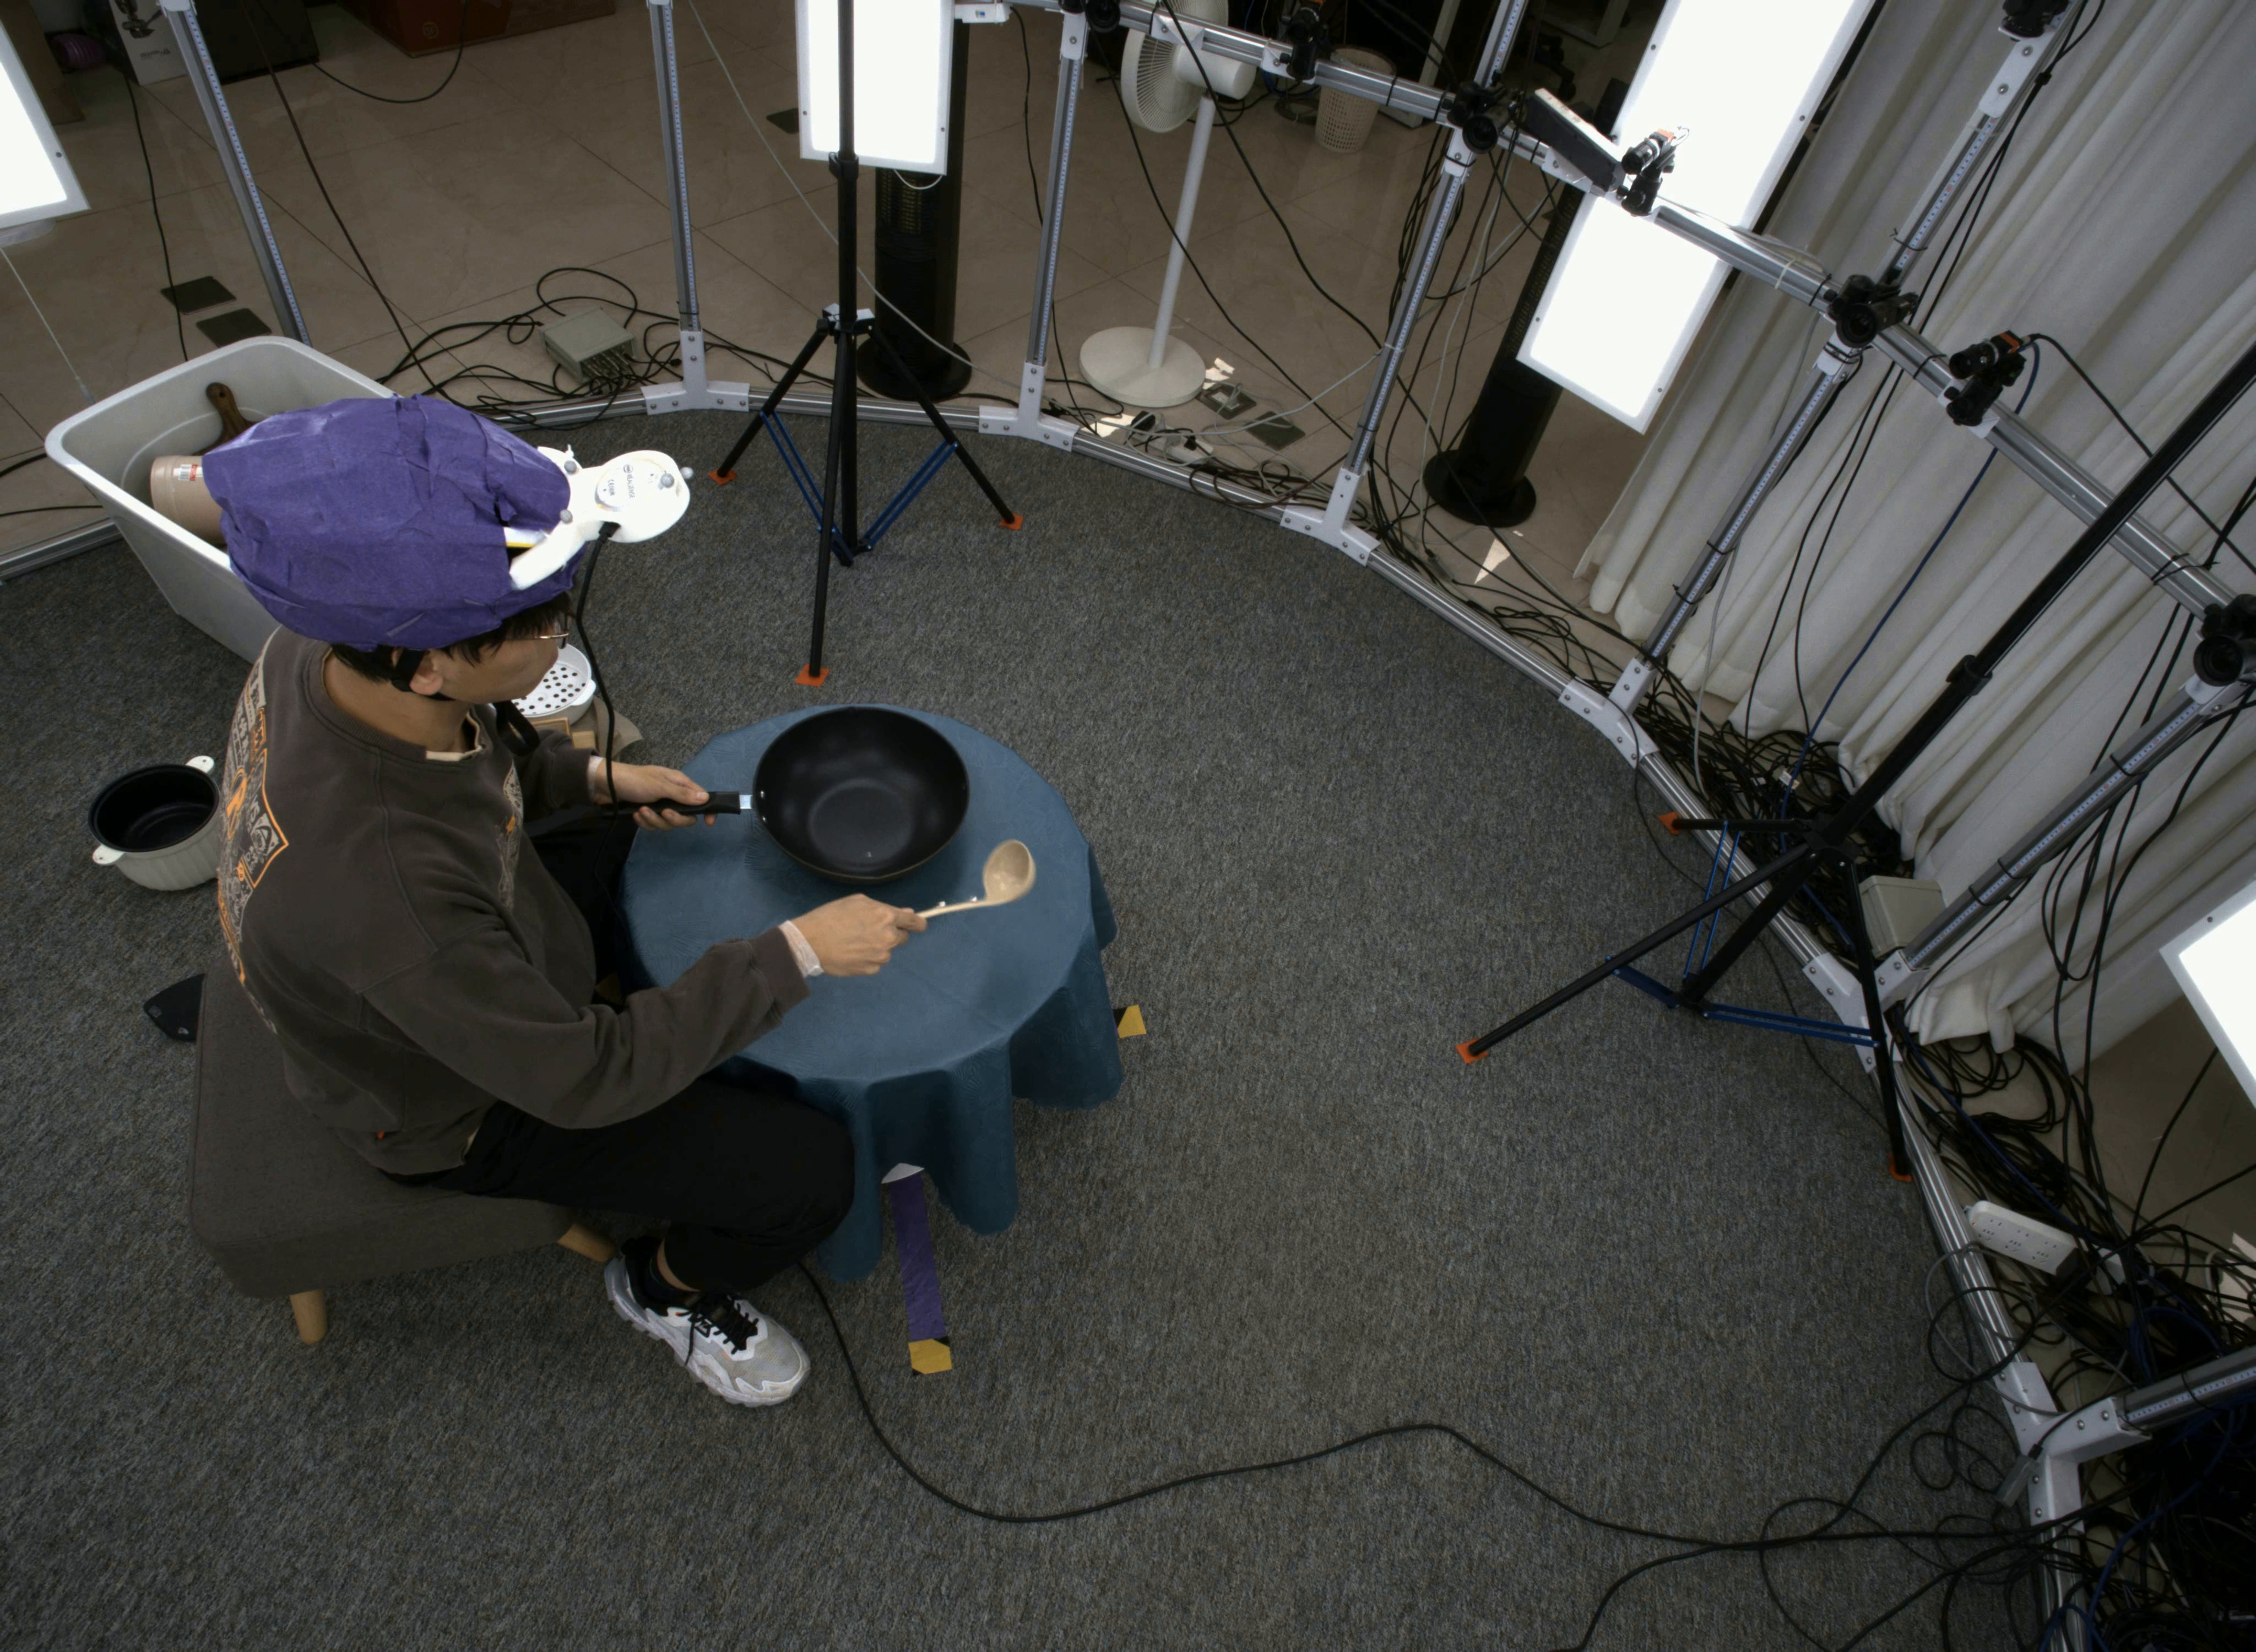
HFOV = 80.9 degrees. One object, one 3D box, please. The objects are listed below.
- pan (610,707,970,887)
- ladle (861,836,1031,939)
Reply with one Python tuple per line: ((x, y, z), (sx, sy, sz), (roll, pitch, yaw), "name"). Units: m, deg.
((-0.436, -0.017, 1.696), (0.464, 0.089, 0.281), (-6, 56, -16), "pan")
((-0.210, 0.066, 1.503), (0.069, 0.074, 0.258), (17, 18, 33), "ladle")
